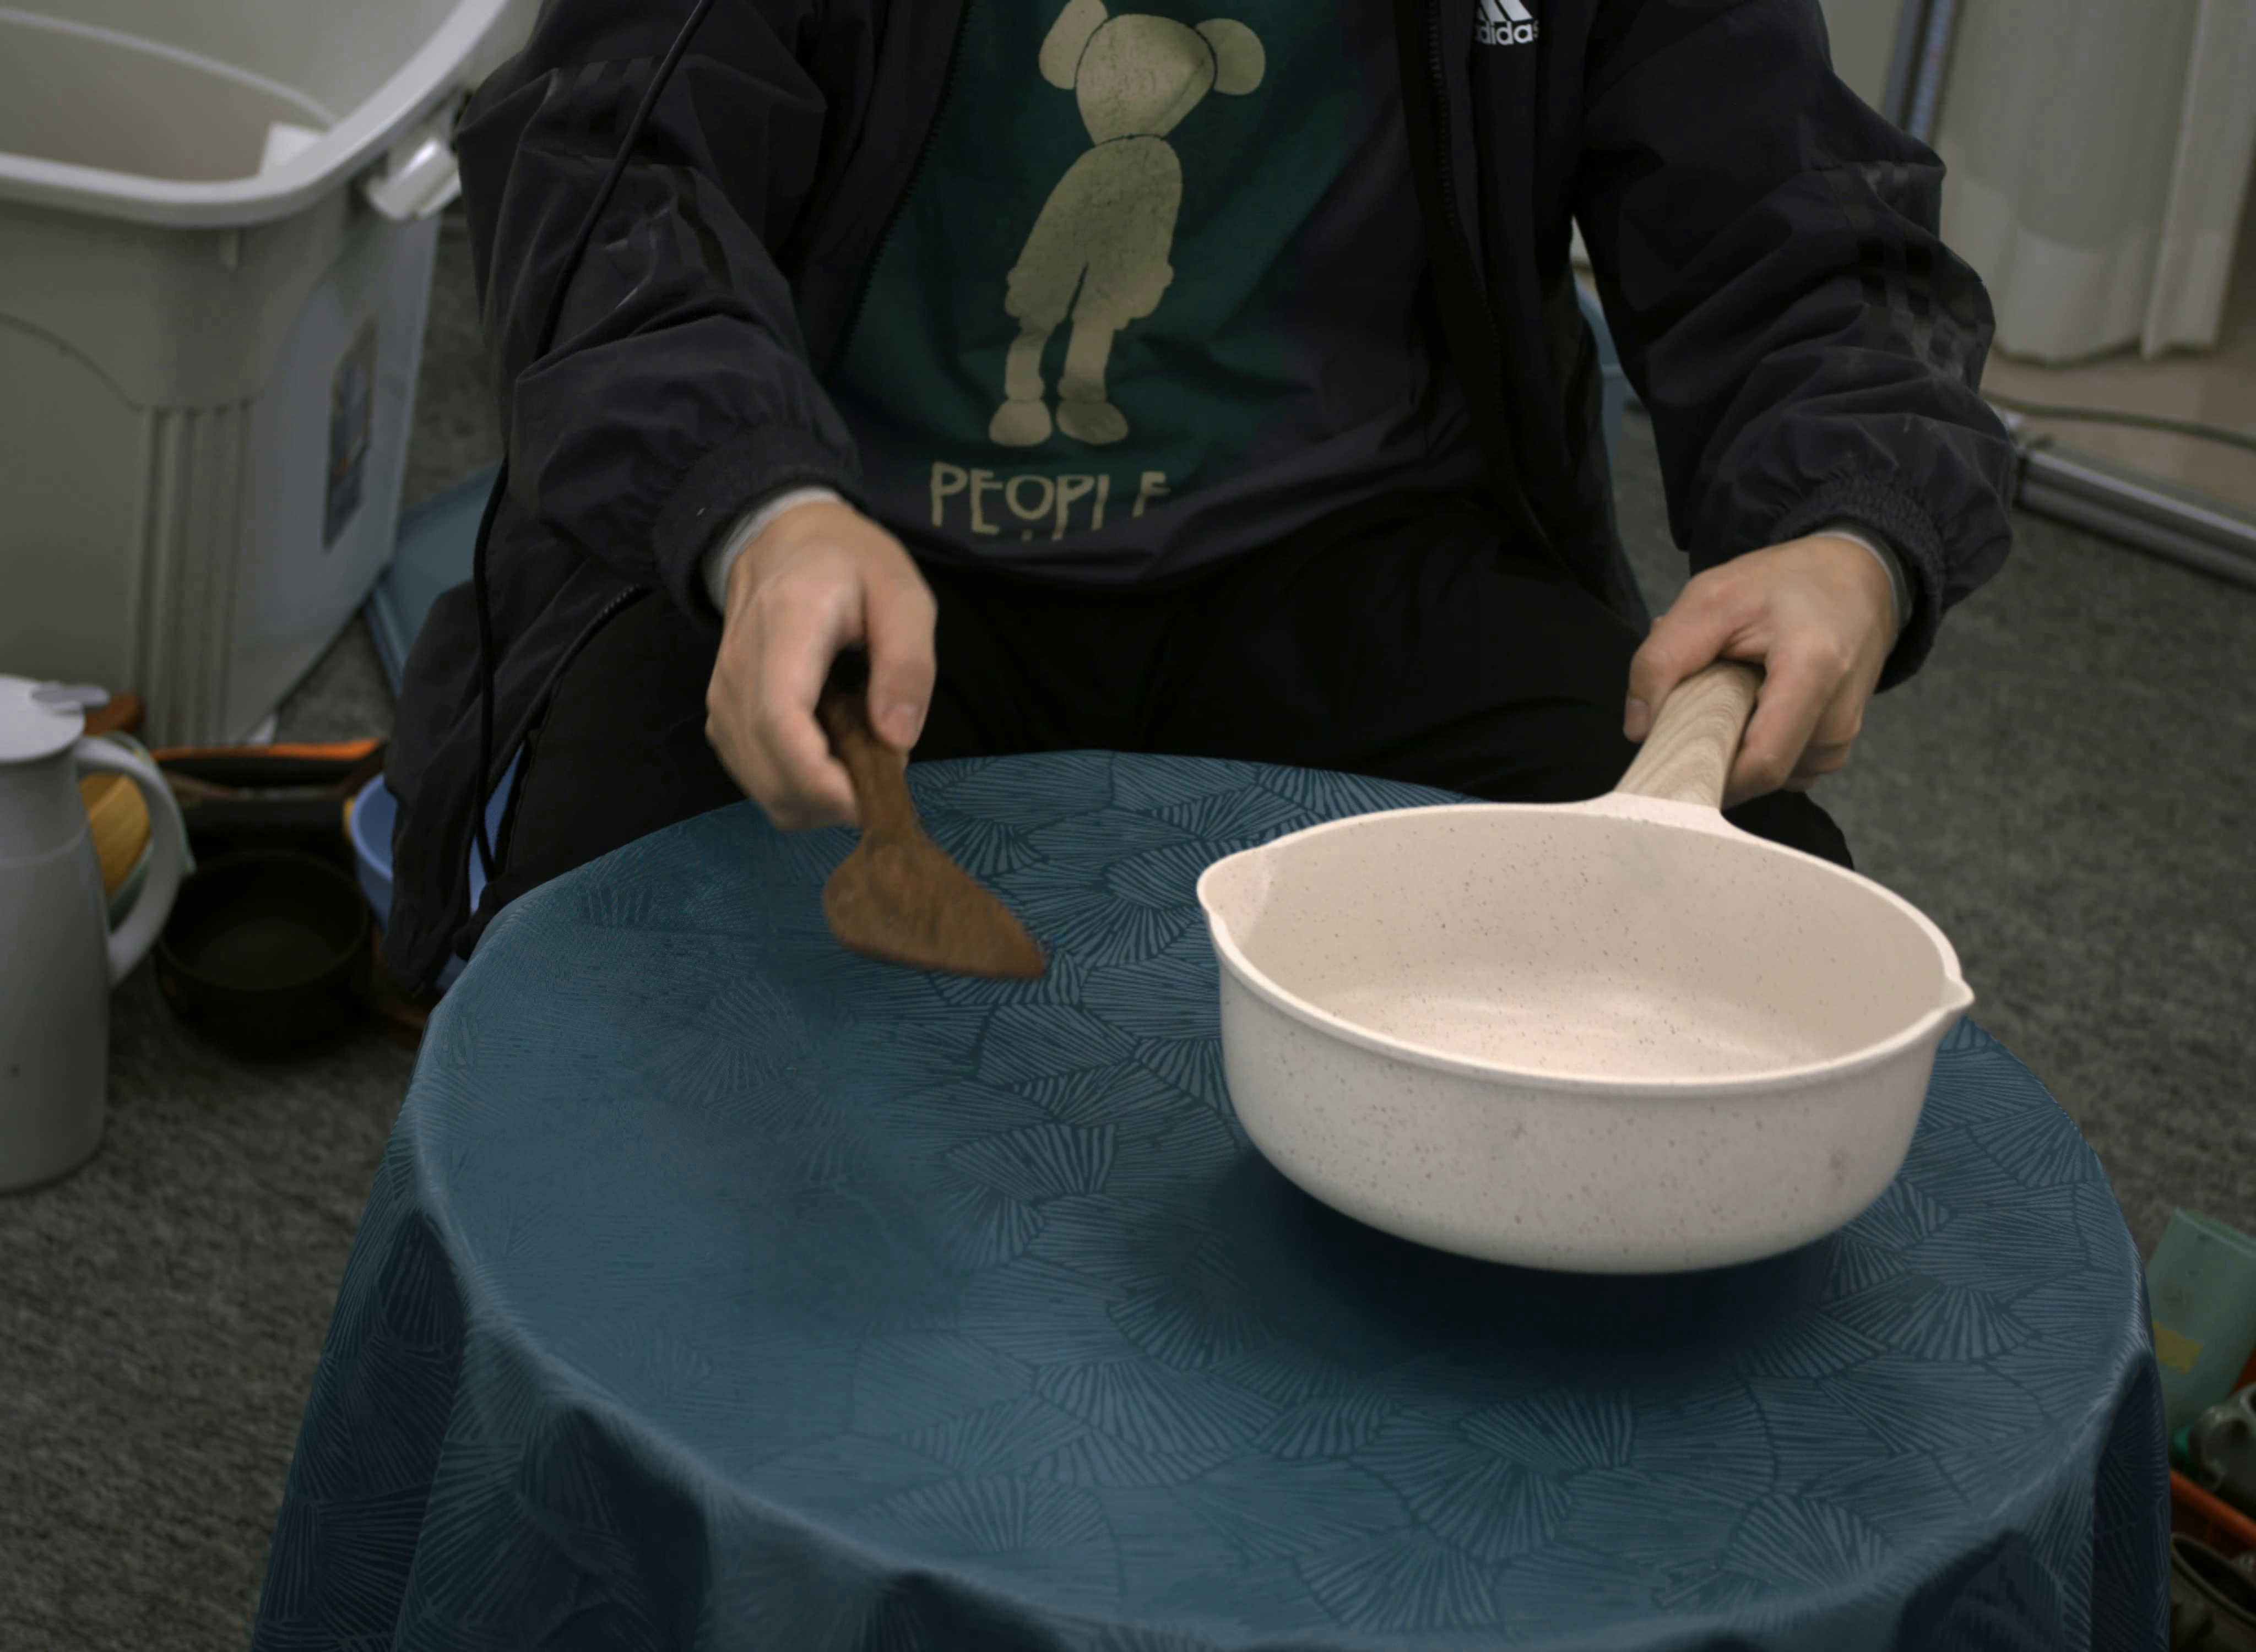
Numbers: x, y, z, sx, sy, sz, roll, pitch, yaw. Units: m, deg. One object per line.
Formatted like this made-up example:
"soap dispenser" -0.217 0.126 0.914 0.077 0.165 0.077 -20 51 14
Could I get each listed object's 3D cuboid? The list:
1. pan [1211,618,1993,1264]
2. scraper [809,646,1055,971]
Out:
"pan" 0.180 0.036 1.866 0.263 0.102 0.435 7 20 14
"scraper" -0.079 -0.008 1.809 0.075 0.011 0.213 11 27 -20
